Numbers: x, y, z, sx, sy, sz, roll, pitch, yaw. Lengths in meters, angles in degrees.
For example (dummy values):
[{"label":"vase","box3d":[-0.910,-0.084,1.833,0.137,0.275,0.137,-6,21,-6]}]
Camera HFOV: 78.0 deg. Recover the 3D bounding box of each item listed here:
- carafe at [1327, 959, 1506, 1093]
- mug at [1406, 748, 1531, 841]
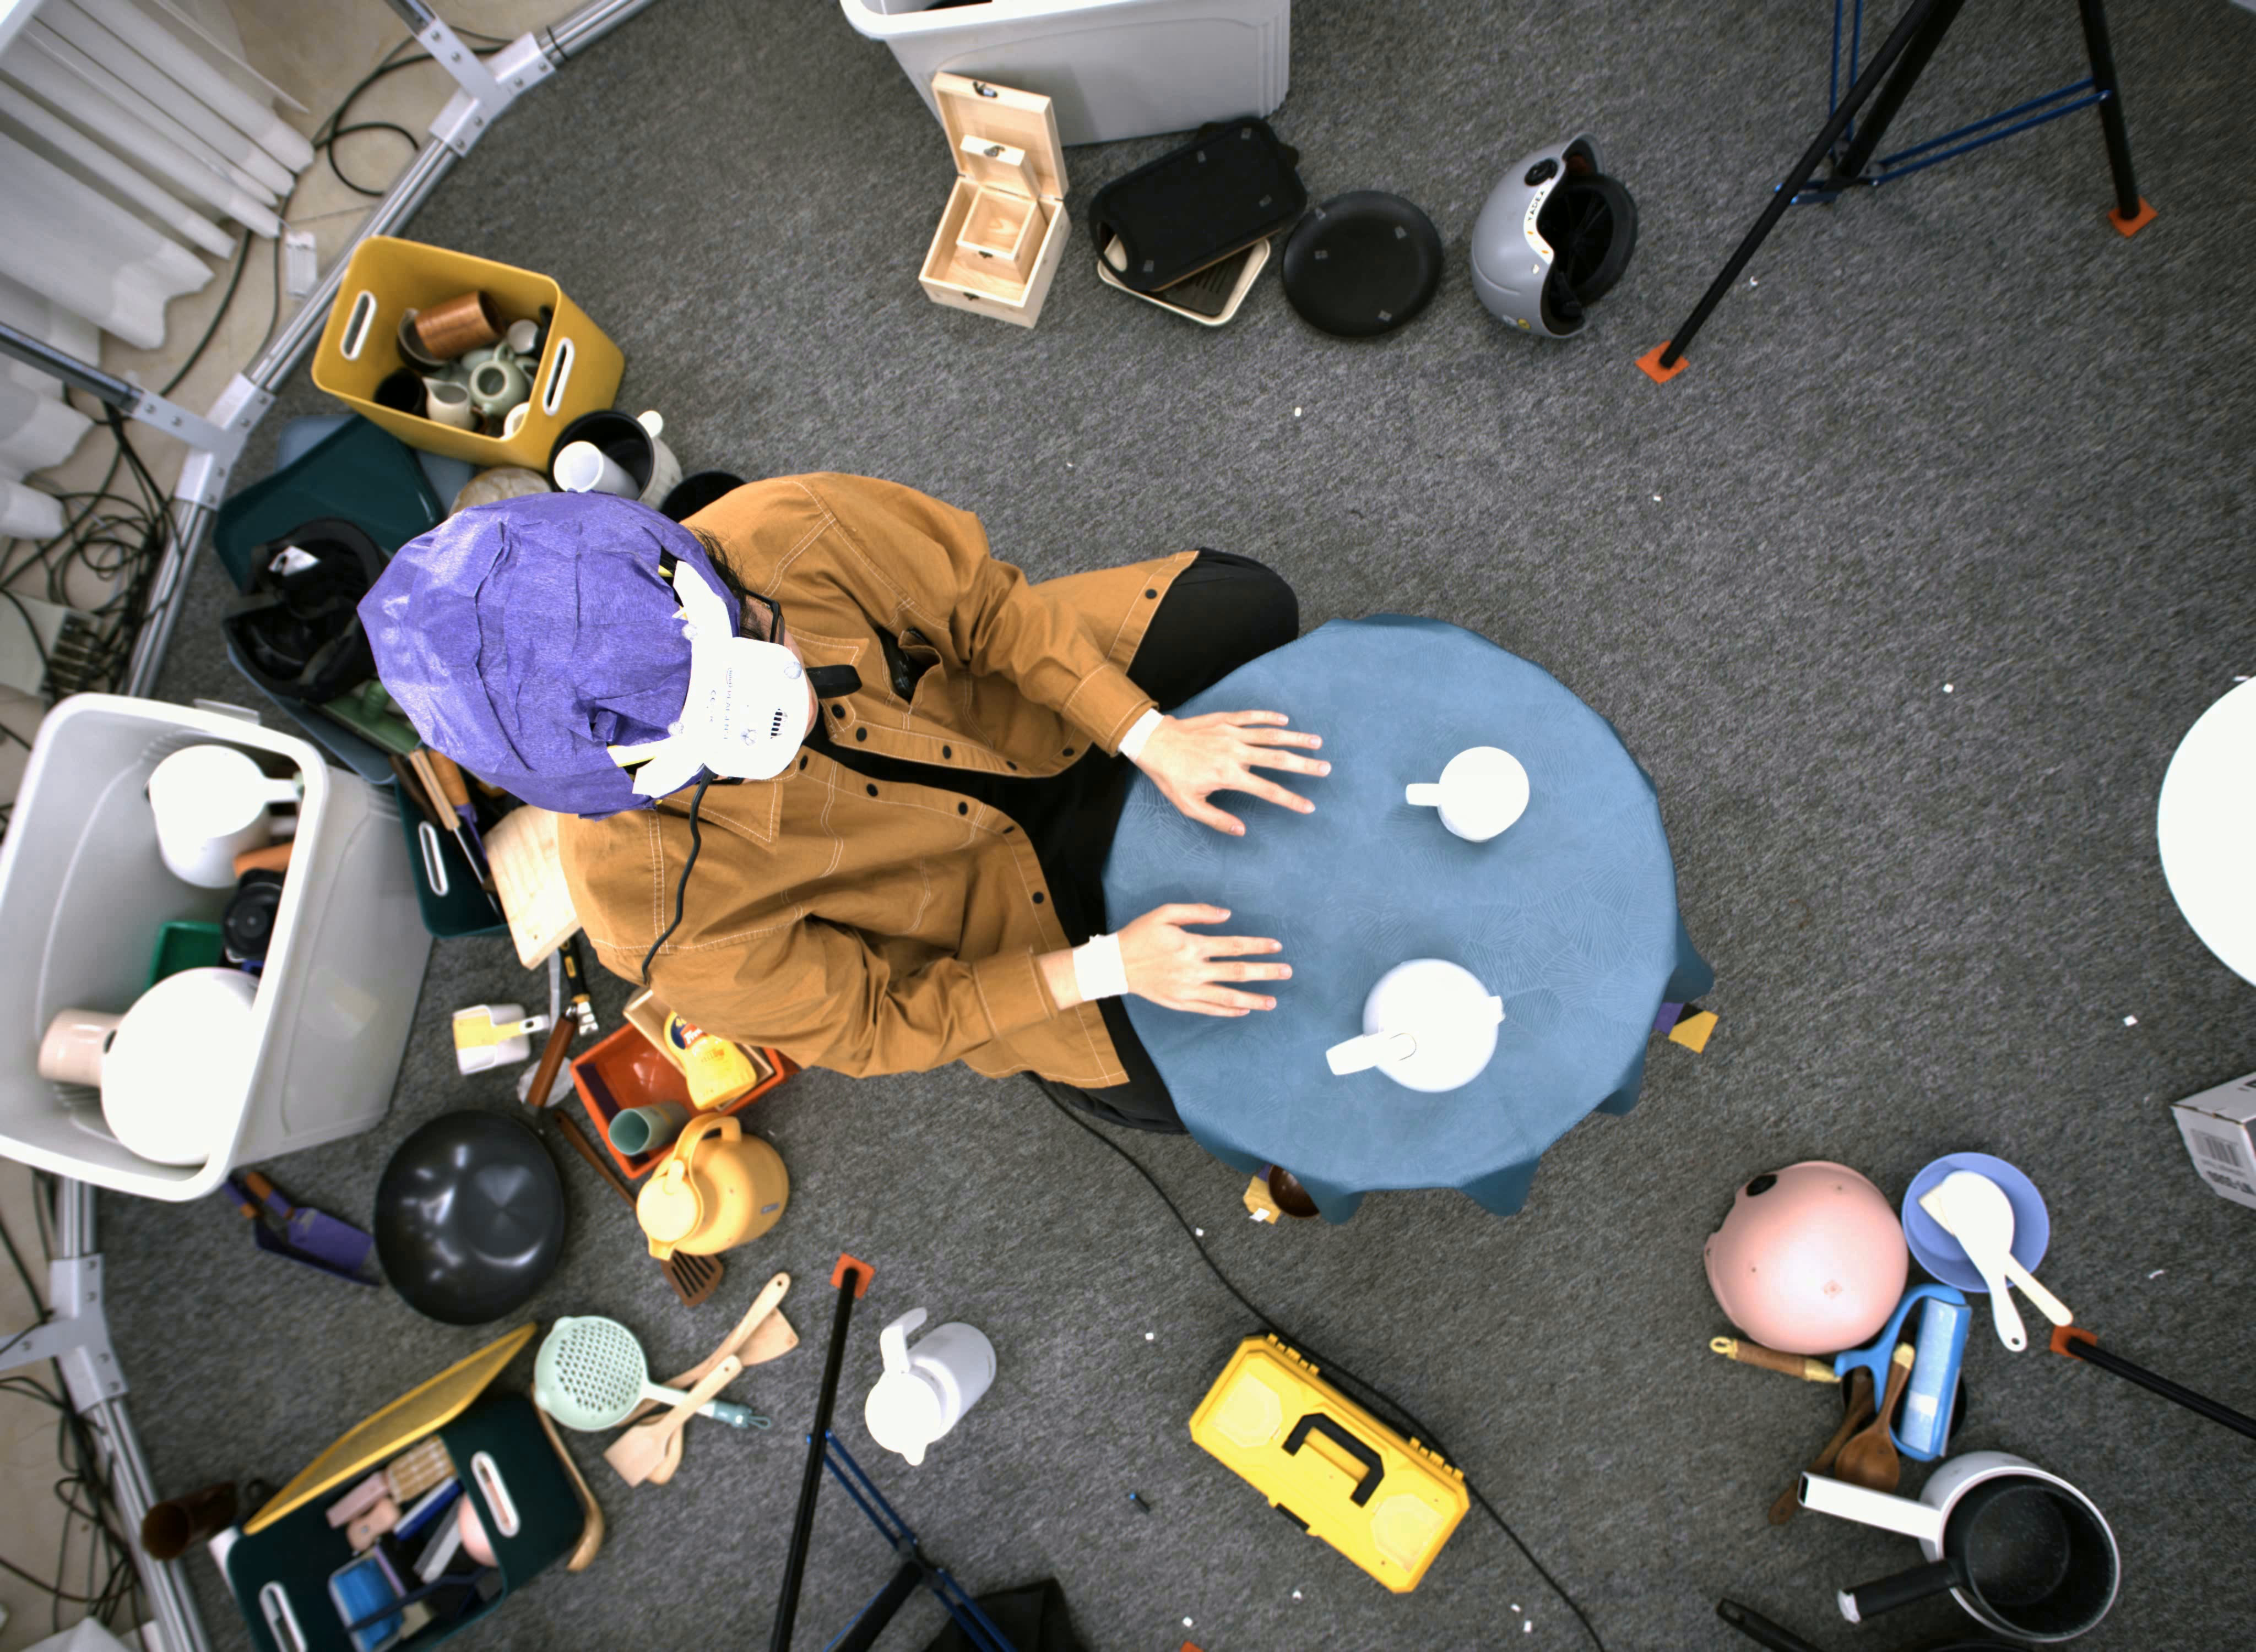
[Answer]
[{"label":"carafe","box3d":[0.274,0.200,1.328,0.169,0.248,0.131,-22,82,8]},{"label":"mug","box3d":[0.343,-0.032,1.398,0.119,0.102,0.084,-1,86,9]}]
